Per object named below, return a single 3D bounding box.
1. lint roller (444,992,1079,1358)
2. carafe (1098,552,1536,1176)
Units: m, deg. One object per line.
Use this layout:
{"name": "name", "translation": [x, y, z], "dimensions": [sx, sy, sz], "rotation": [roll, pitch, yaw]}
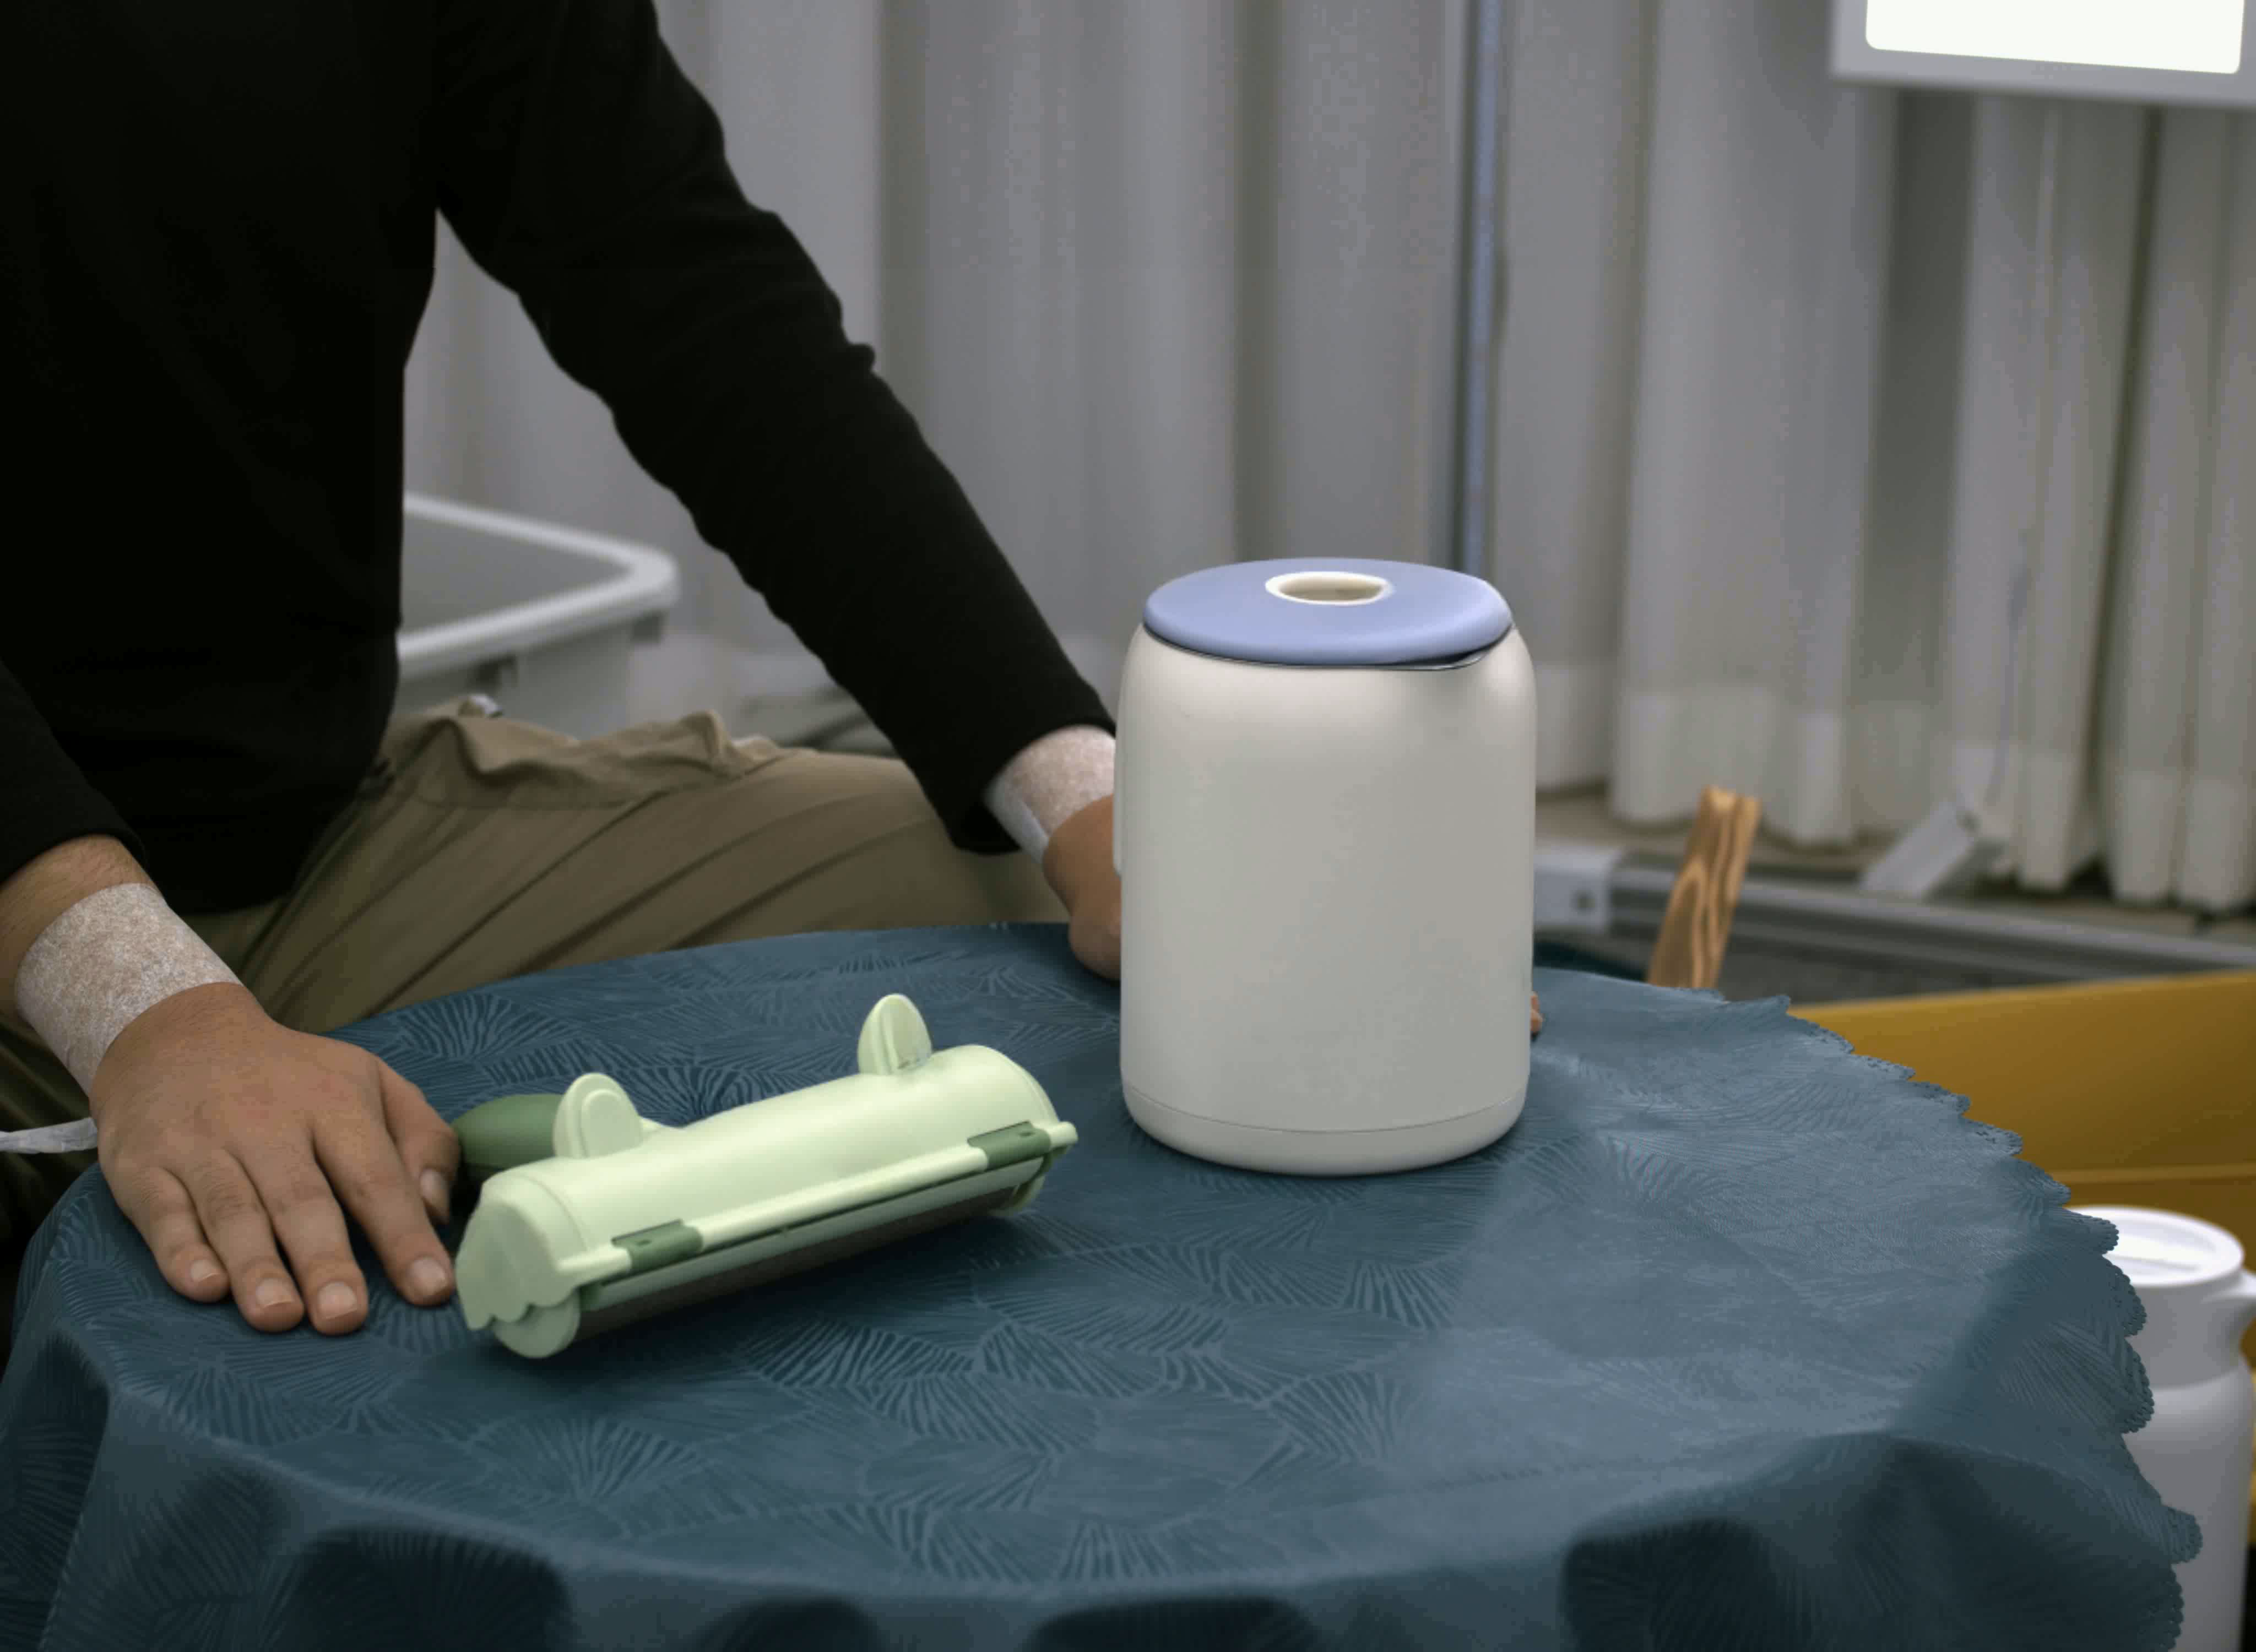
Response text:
{"name": "lint roller", "translation": [-0.143, 0.088, 1.561], "dimensions": [0.199, 0.083, 0.181], "rotation": [-13, 23, -43]}
{"name": "carafe", "translation": [0.049, 0.006, 1.684], "dimensions": [0.133, 0.184, 0.188], "rotation": [-10, 17, -33]}
